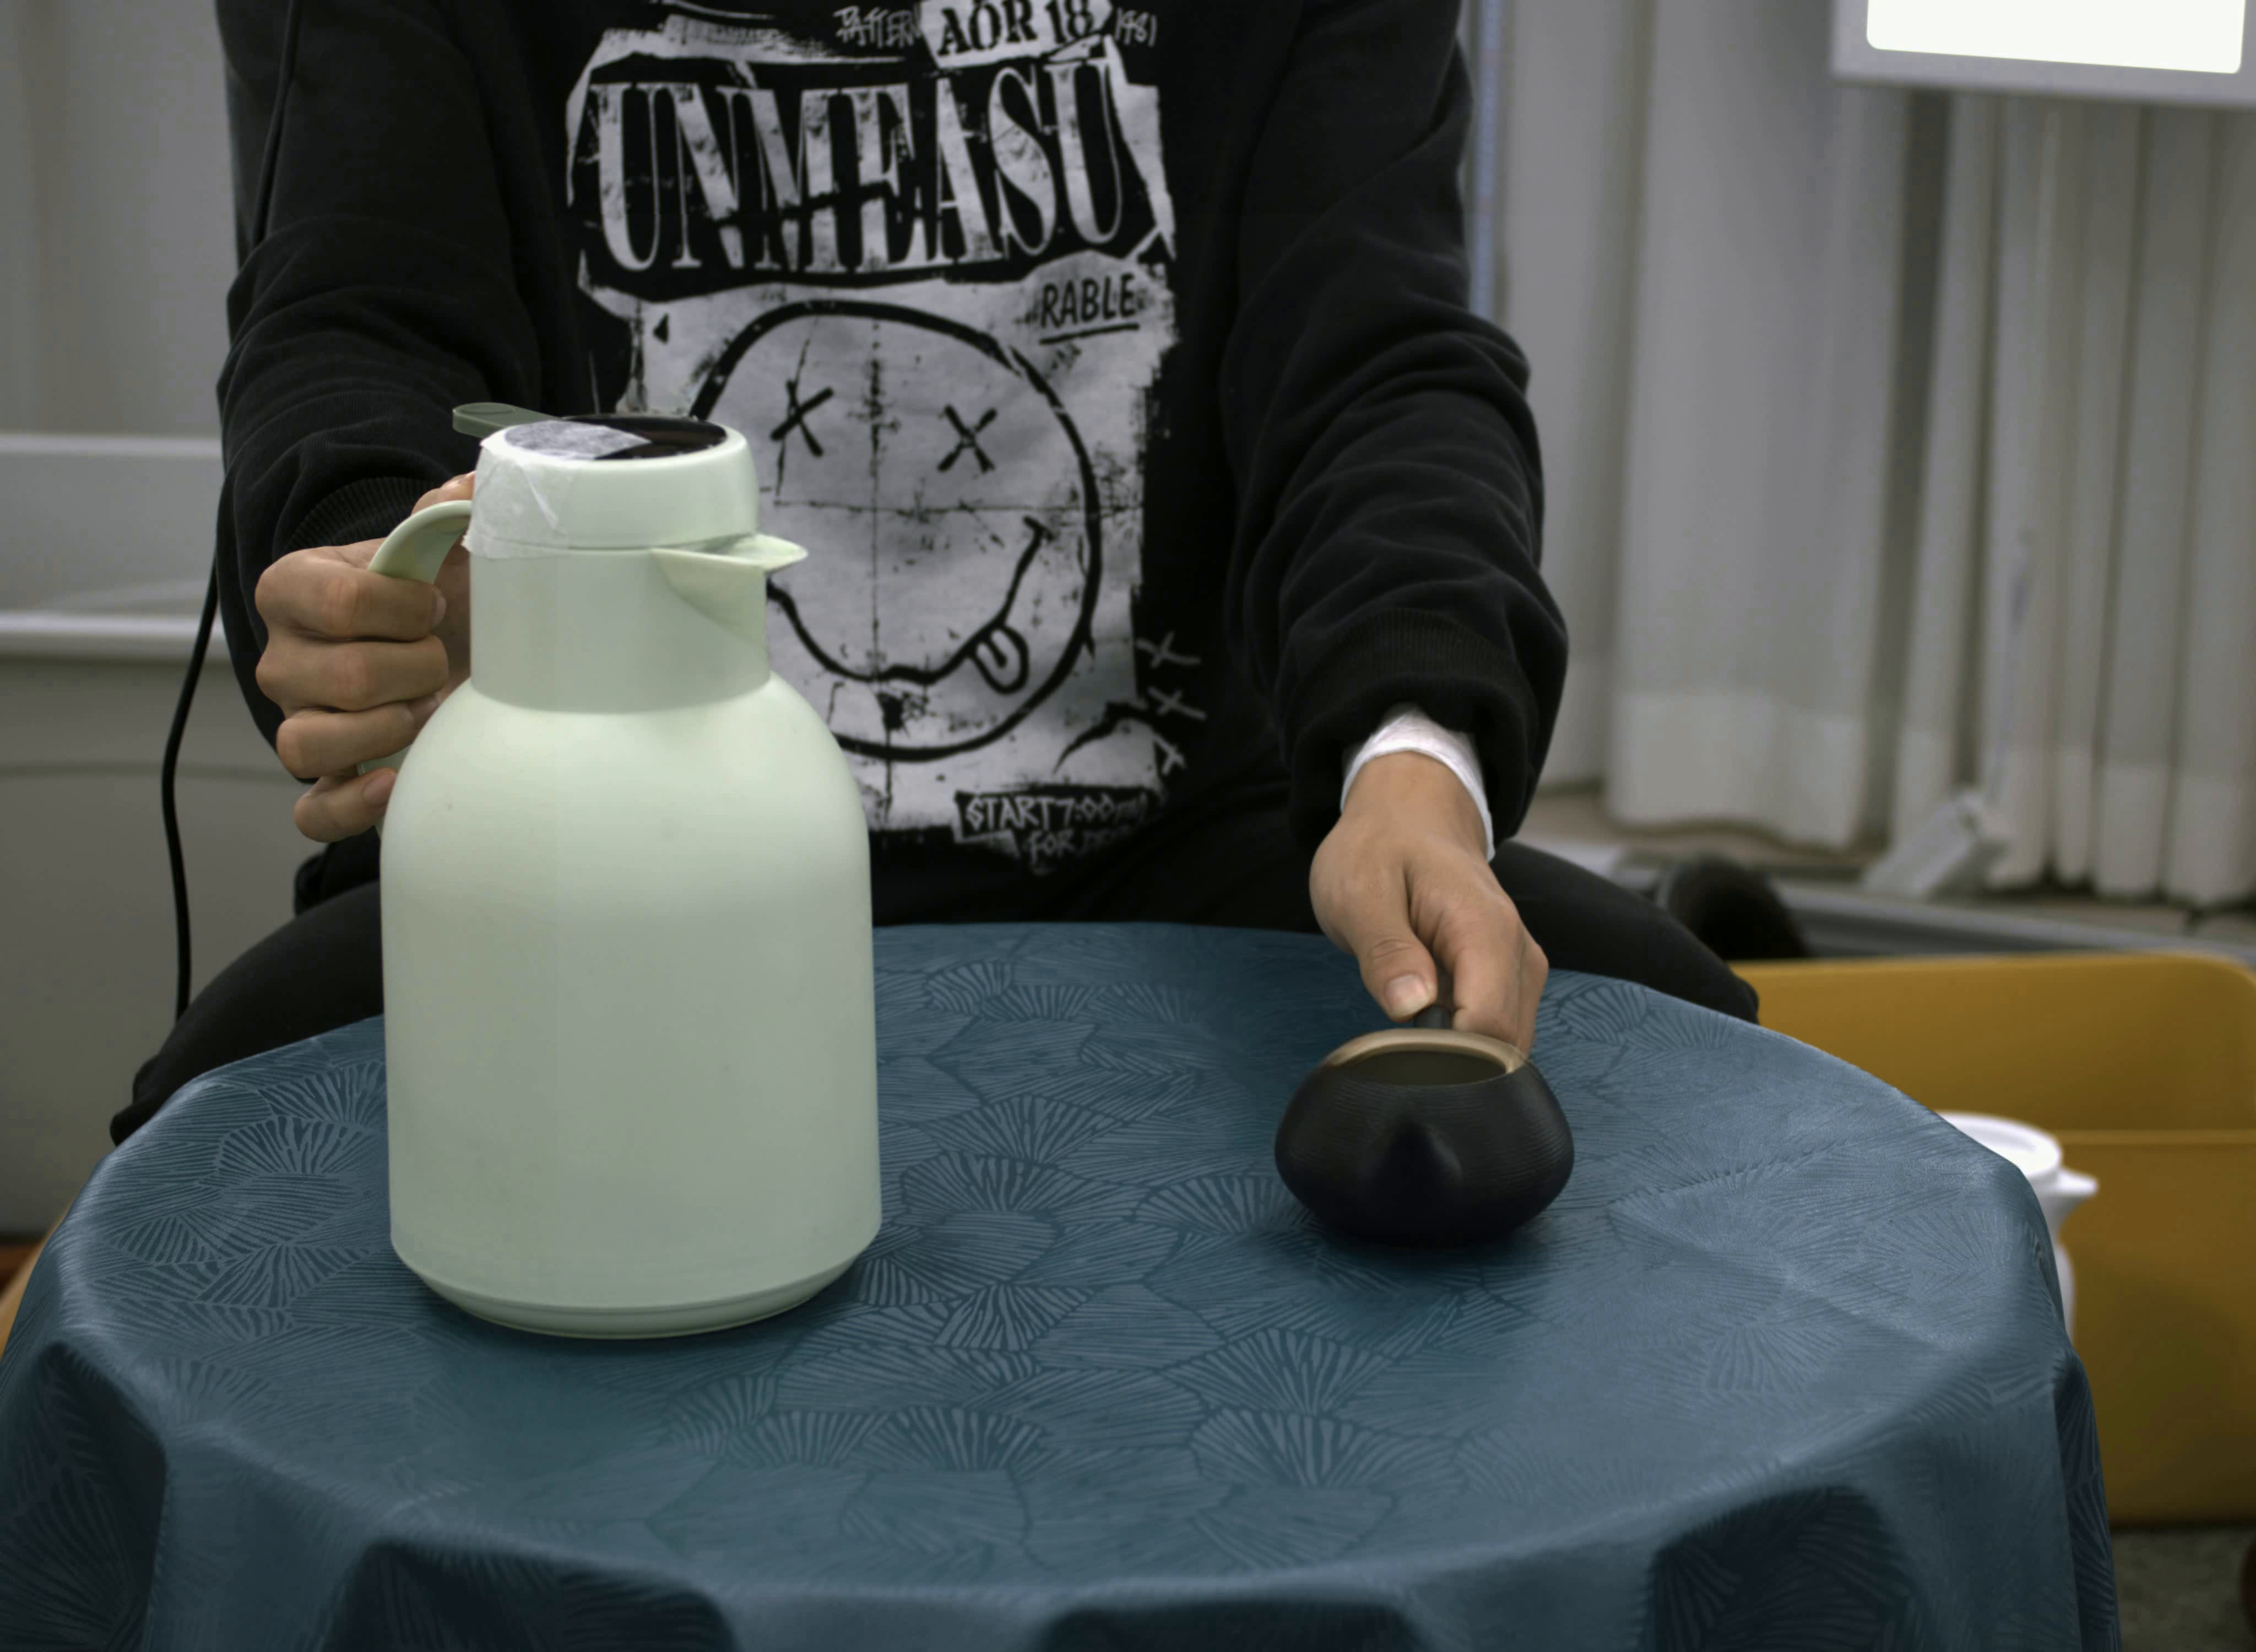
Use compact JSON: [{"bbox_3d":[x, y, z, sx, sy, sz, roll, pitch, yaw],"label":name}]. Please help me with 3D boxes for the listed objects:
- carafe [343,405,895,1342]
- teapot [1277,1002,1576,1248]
[{"bbox_3d":[-0.154,0.008,1.526,0.184,0.259,0.145,10,20,41],"label":"carafe"},{"bbox_3d":[0.090,0.094,1.591,0.090,0.053,0.132,4,17,6],"label":"teapot"}]
